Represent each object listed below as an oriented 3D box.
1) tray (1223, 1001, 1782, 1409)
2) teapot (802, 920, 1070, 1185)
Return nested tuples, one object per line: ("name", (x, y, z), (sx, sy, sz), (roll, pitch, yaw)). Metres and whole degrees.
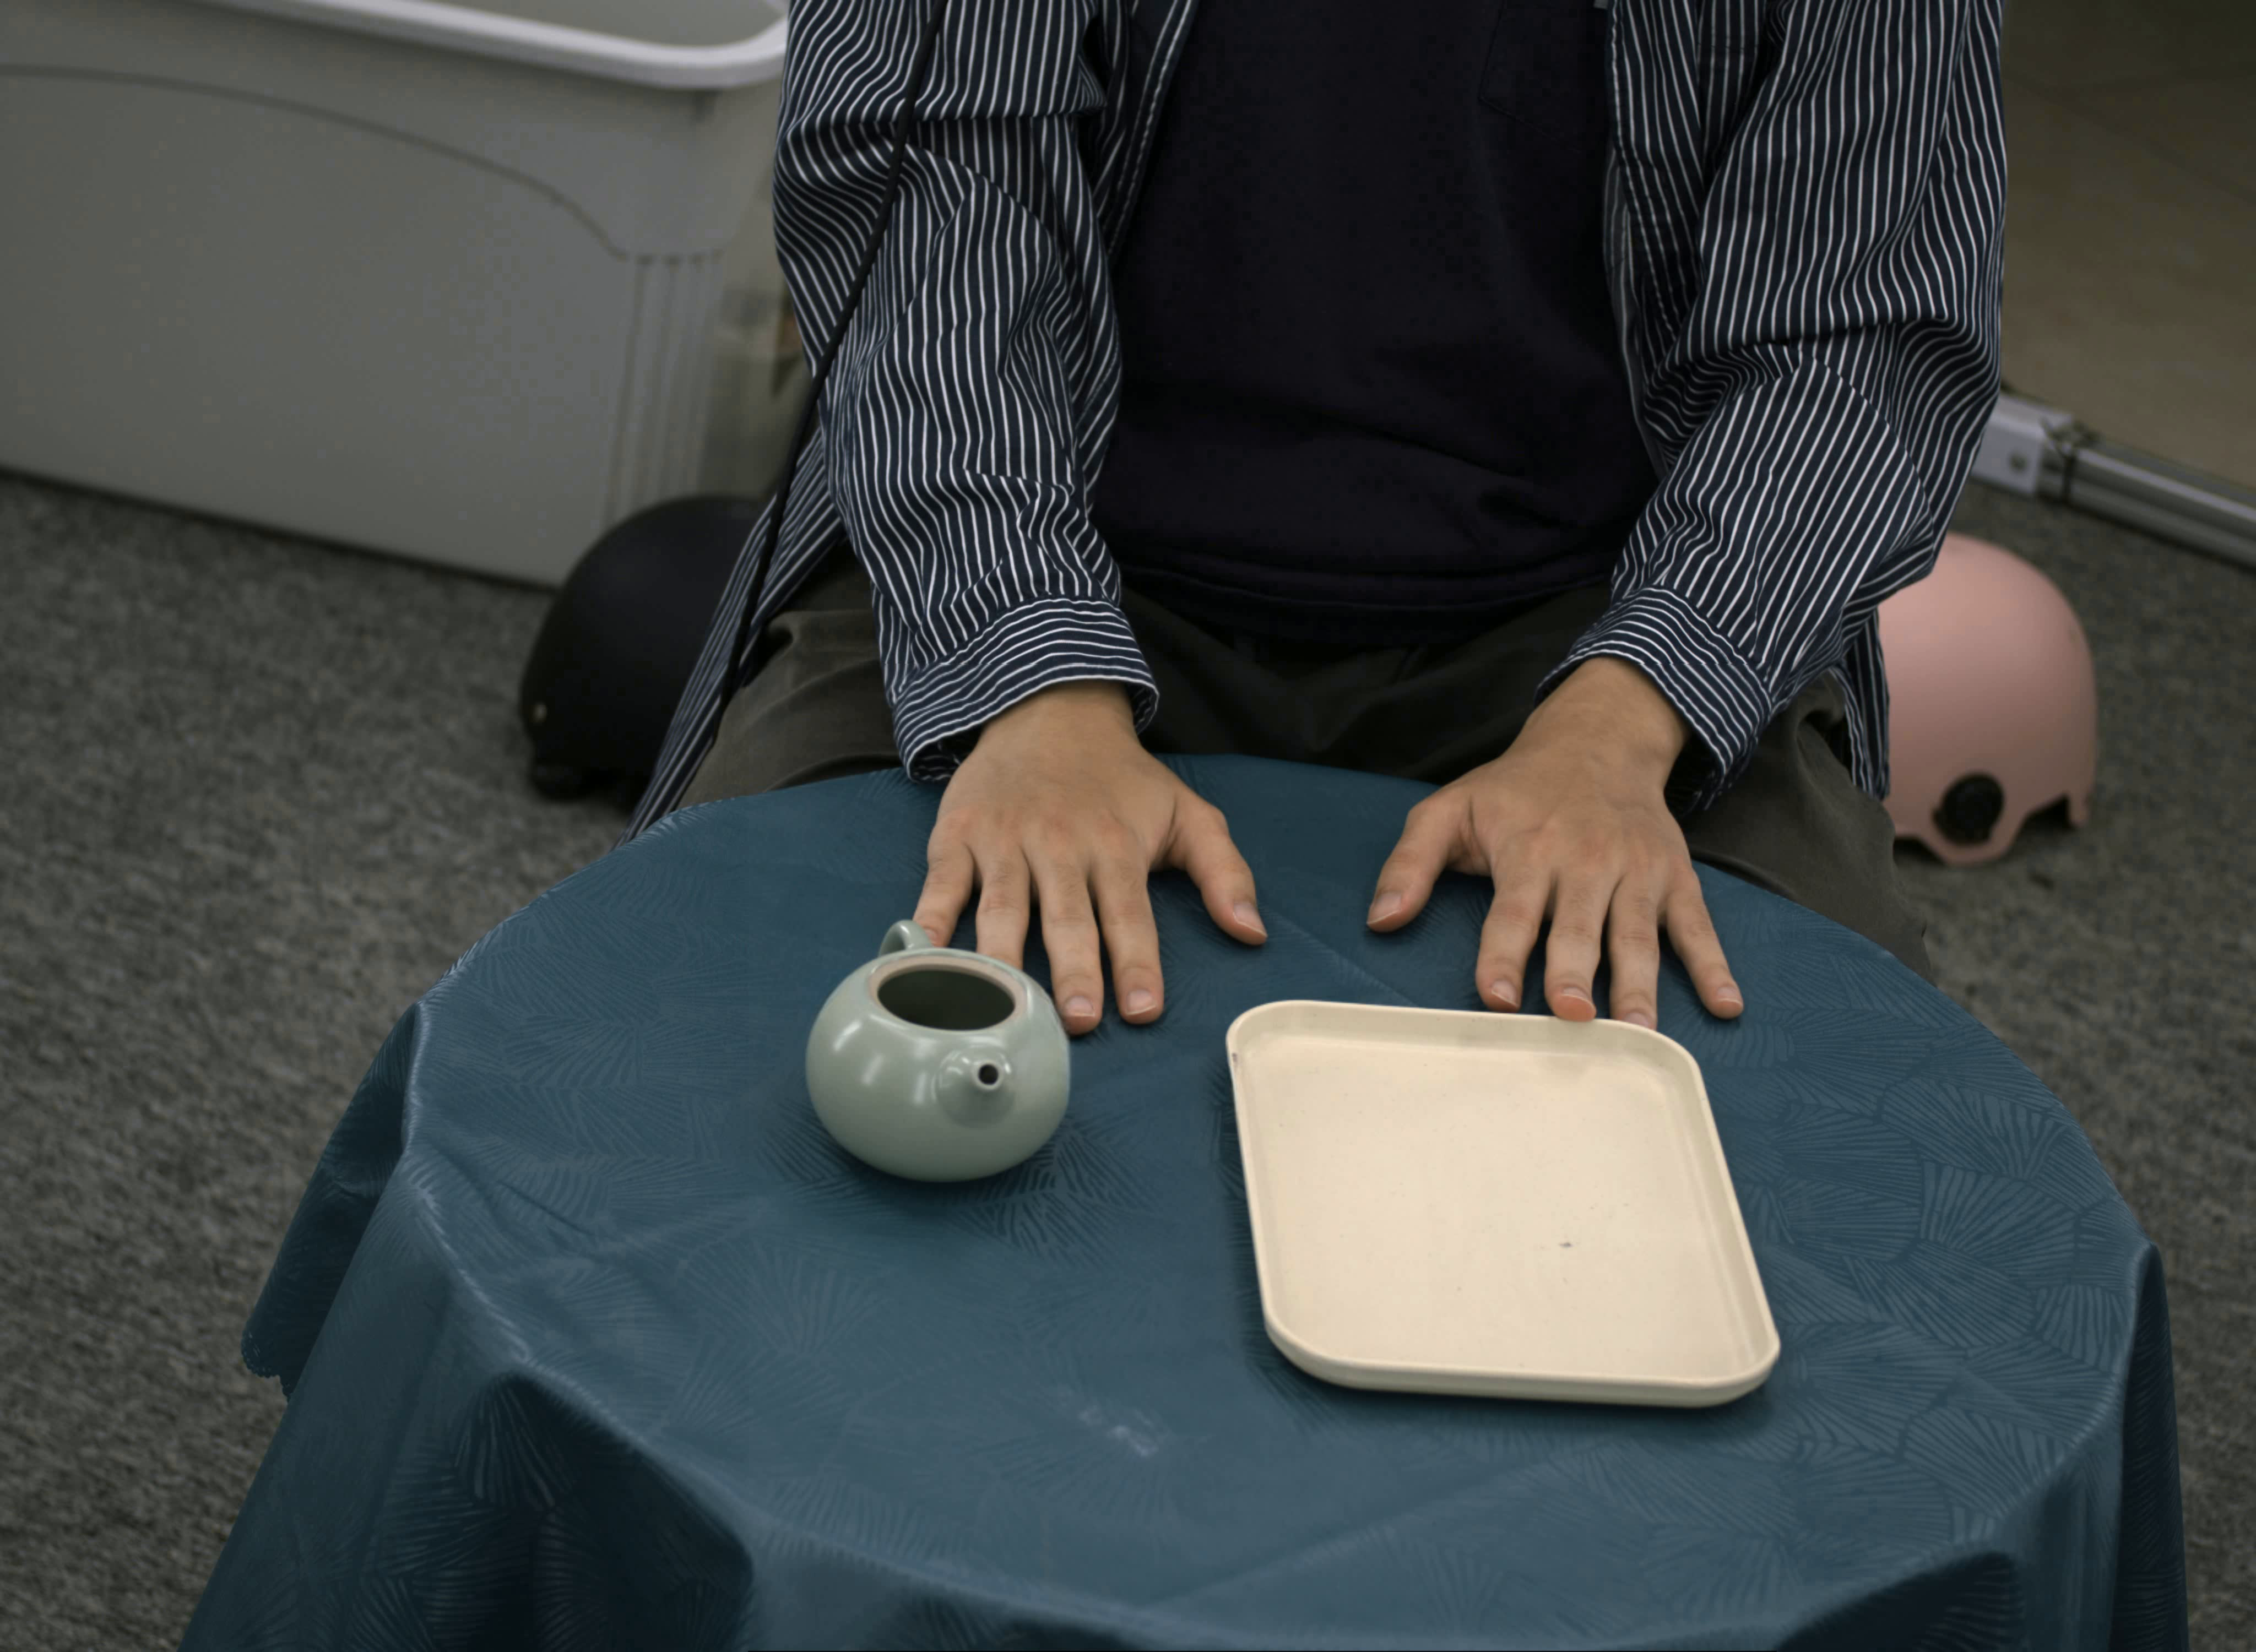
("tray", (0.122, 0.127, 1.799), (0.170, 0.017, 0.241), (4, 26, -5))
("teapot", (-0.067, 0.078, 1.810), (0.091, 0.061, 0.129), (-2, 27, -13))
